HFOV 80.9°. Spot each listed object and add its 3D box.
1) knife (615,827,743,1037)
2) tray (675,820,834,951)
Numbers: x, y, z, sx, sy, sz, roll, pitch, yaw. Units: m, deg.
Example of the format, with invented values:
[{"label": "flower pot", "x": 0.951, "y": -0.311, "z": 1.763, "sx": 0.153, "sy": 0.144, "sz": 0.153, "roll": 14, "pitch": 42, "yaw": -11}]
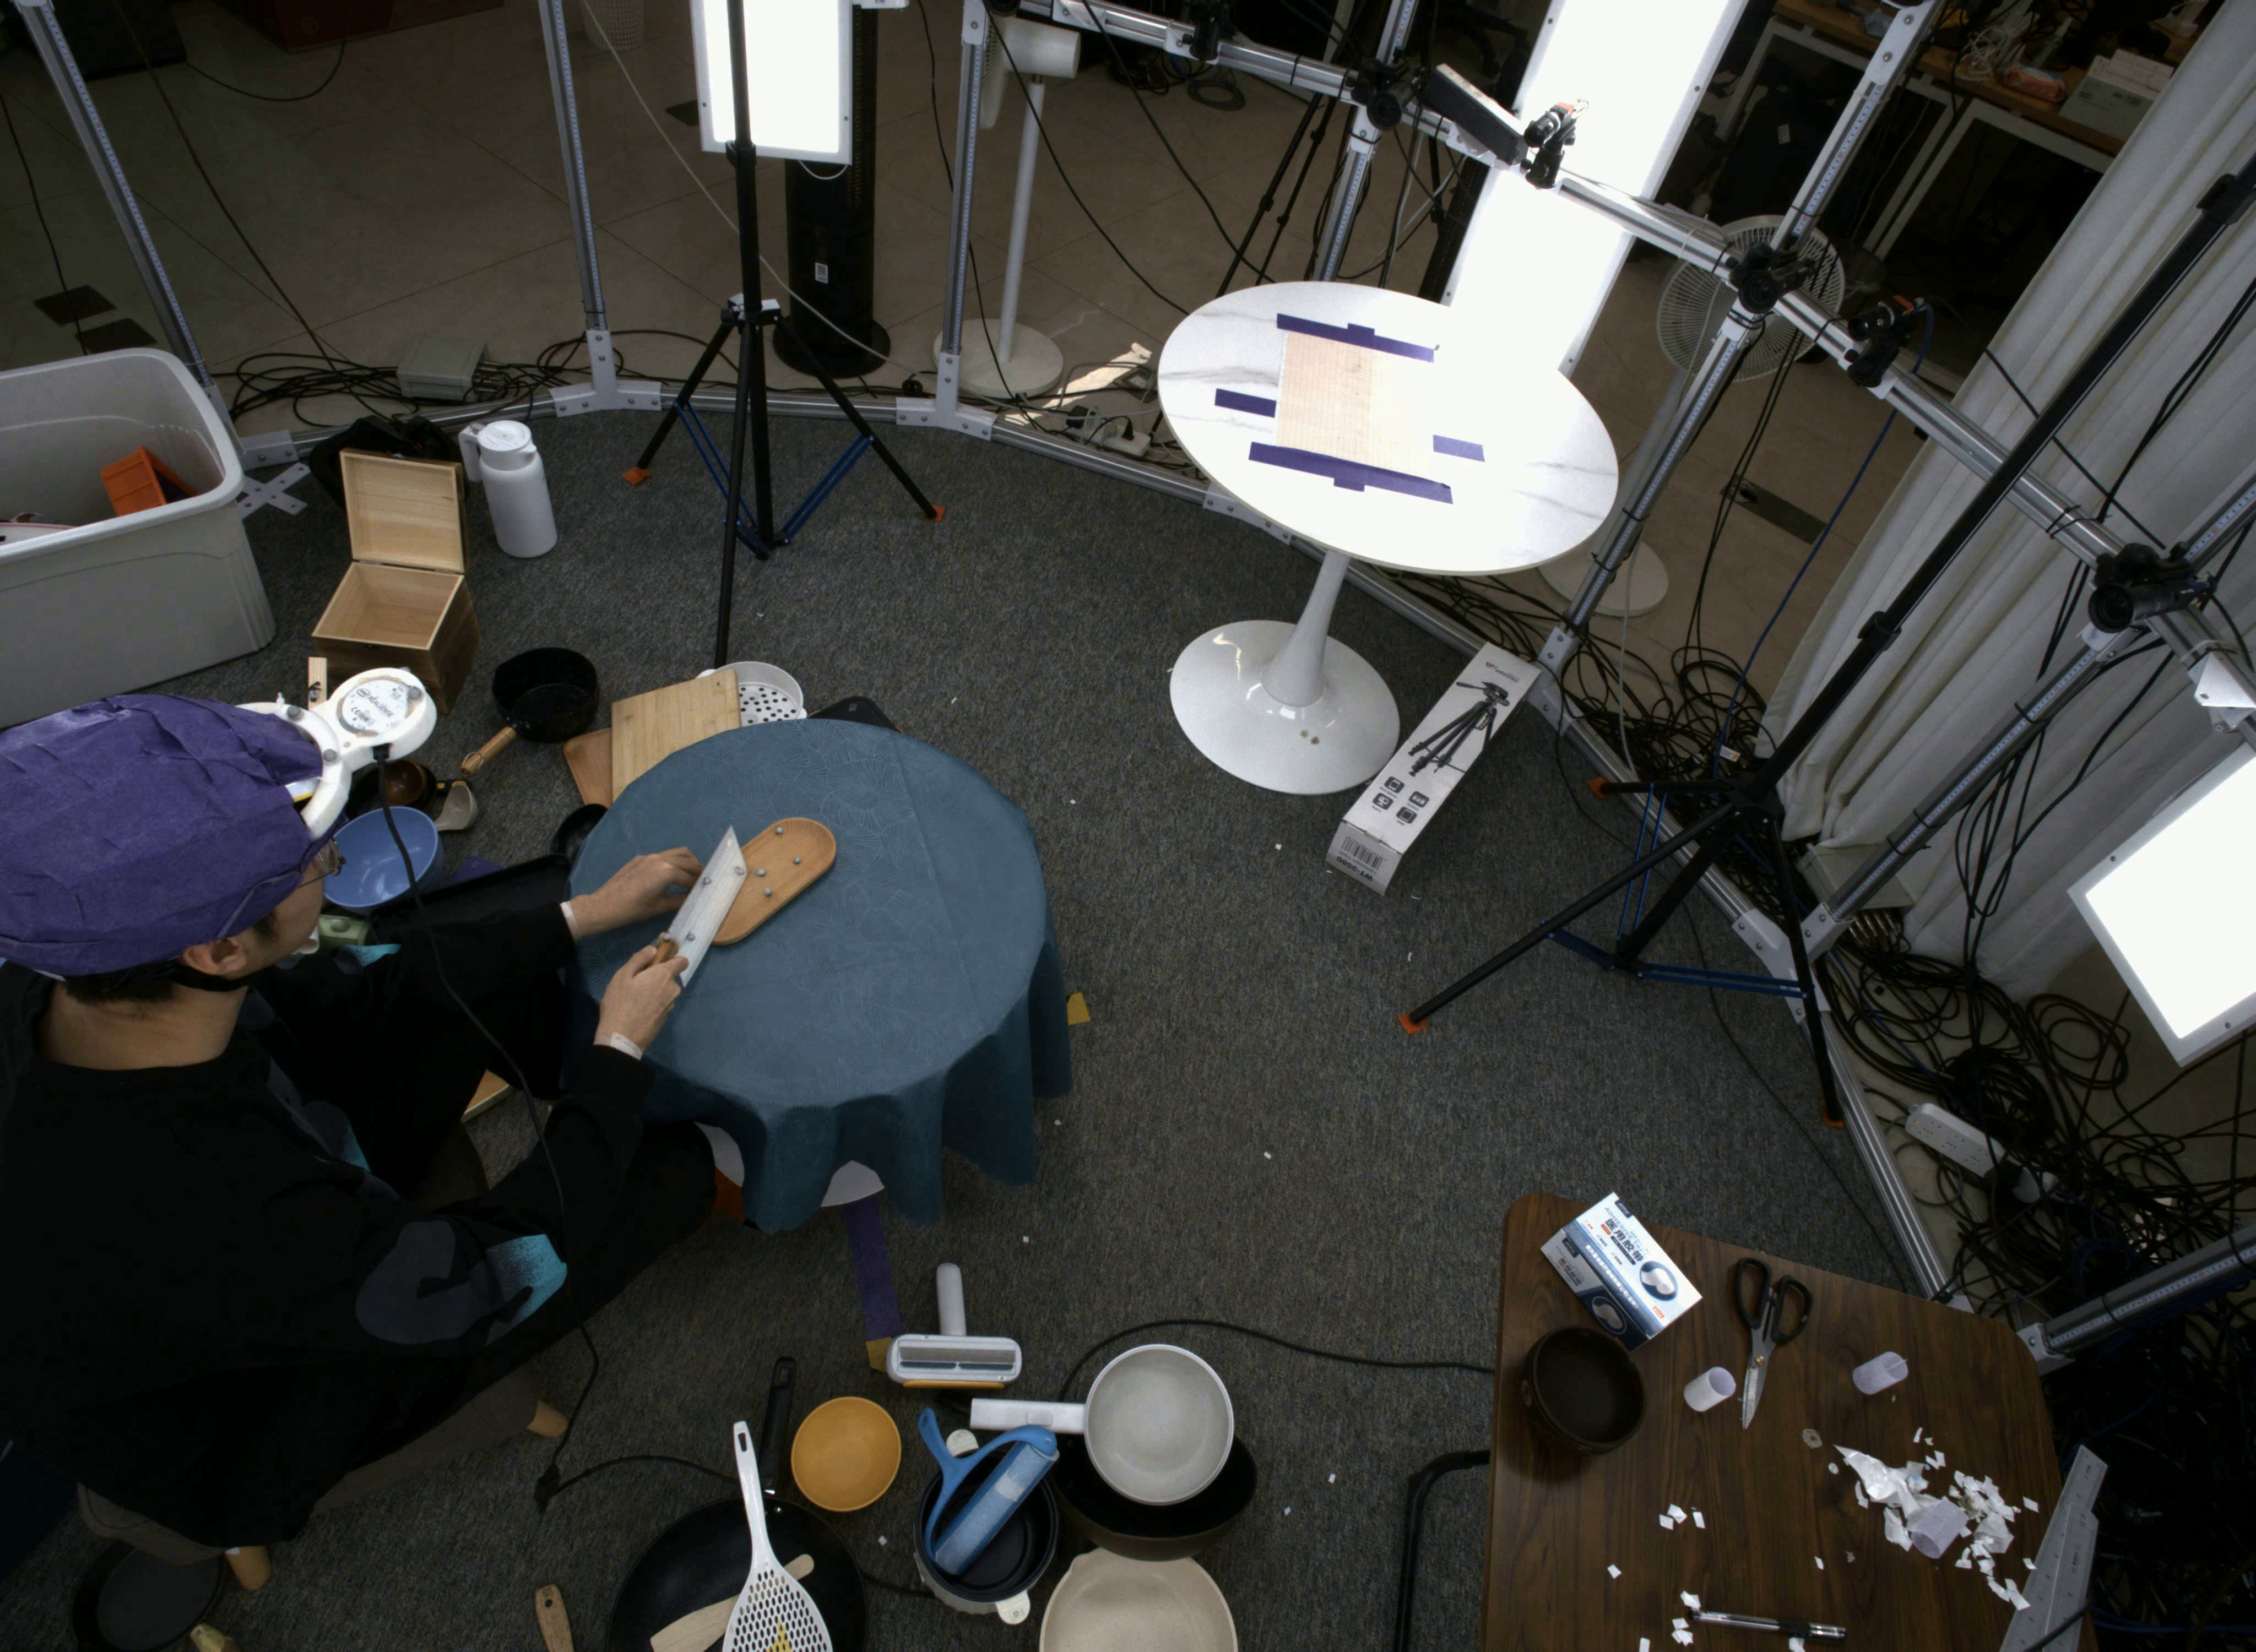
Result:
[{"label": "knife", "x": -0.516, "y": 0.131, "z": 1.503, "sx": 0.020, "sy": 0.096, "sz": 0.301, "roll": 6, "pitch": 45, "yaw": 10}, {"label": "tray", "x": -0.470, "y": 0.071, "z": 1.637, "sx": 0.099, "sy": 0.021, "sz": 0.231, "roll": 35, "pitch": 54, "yaw": 14}]
